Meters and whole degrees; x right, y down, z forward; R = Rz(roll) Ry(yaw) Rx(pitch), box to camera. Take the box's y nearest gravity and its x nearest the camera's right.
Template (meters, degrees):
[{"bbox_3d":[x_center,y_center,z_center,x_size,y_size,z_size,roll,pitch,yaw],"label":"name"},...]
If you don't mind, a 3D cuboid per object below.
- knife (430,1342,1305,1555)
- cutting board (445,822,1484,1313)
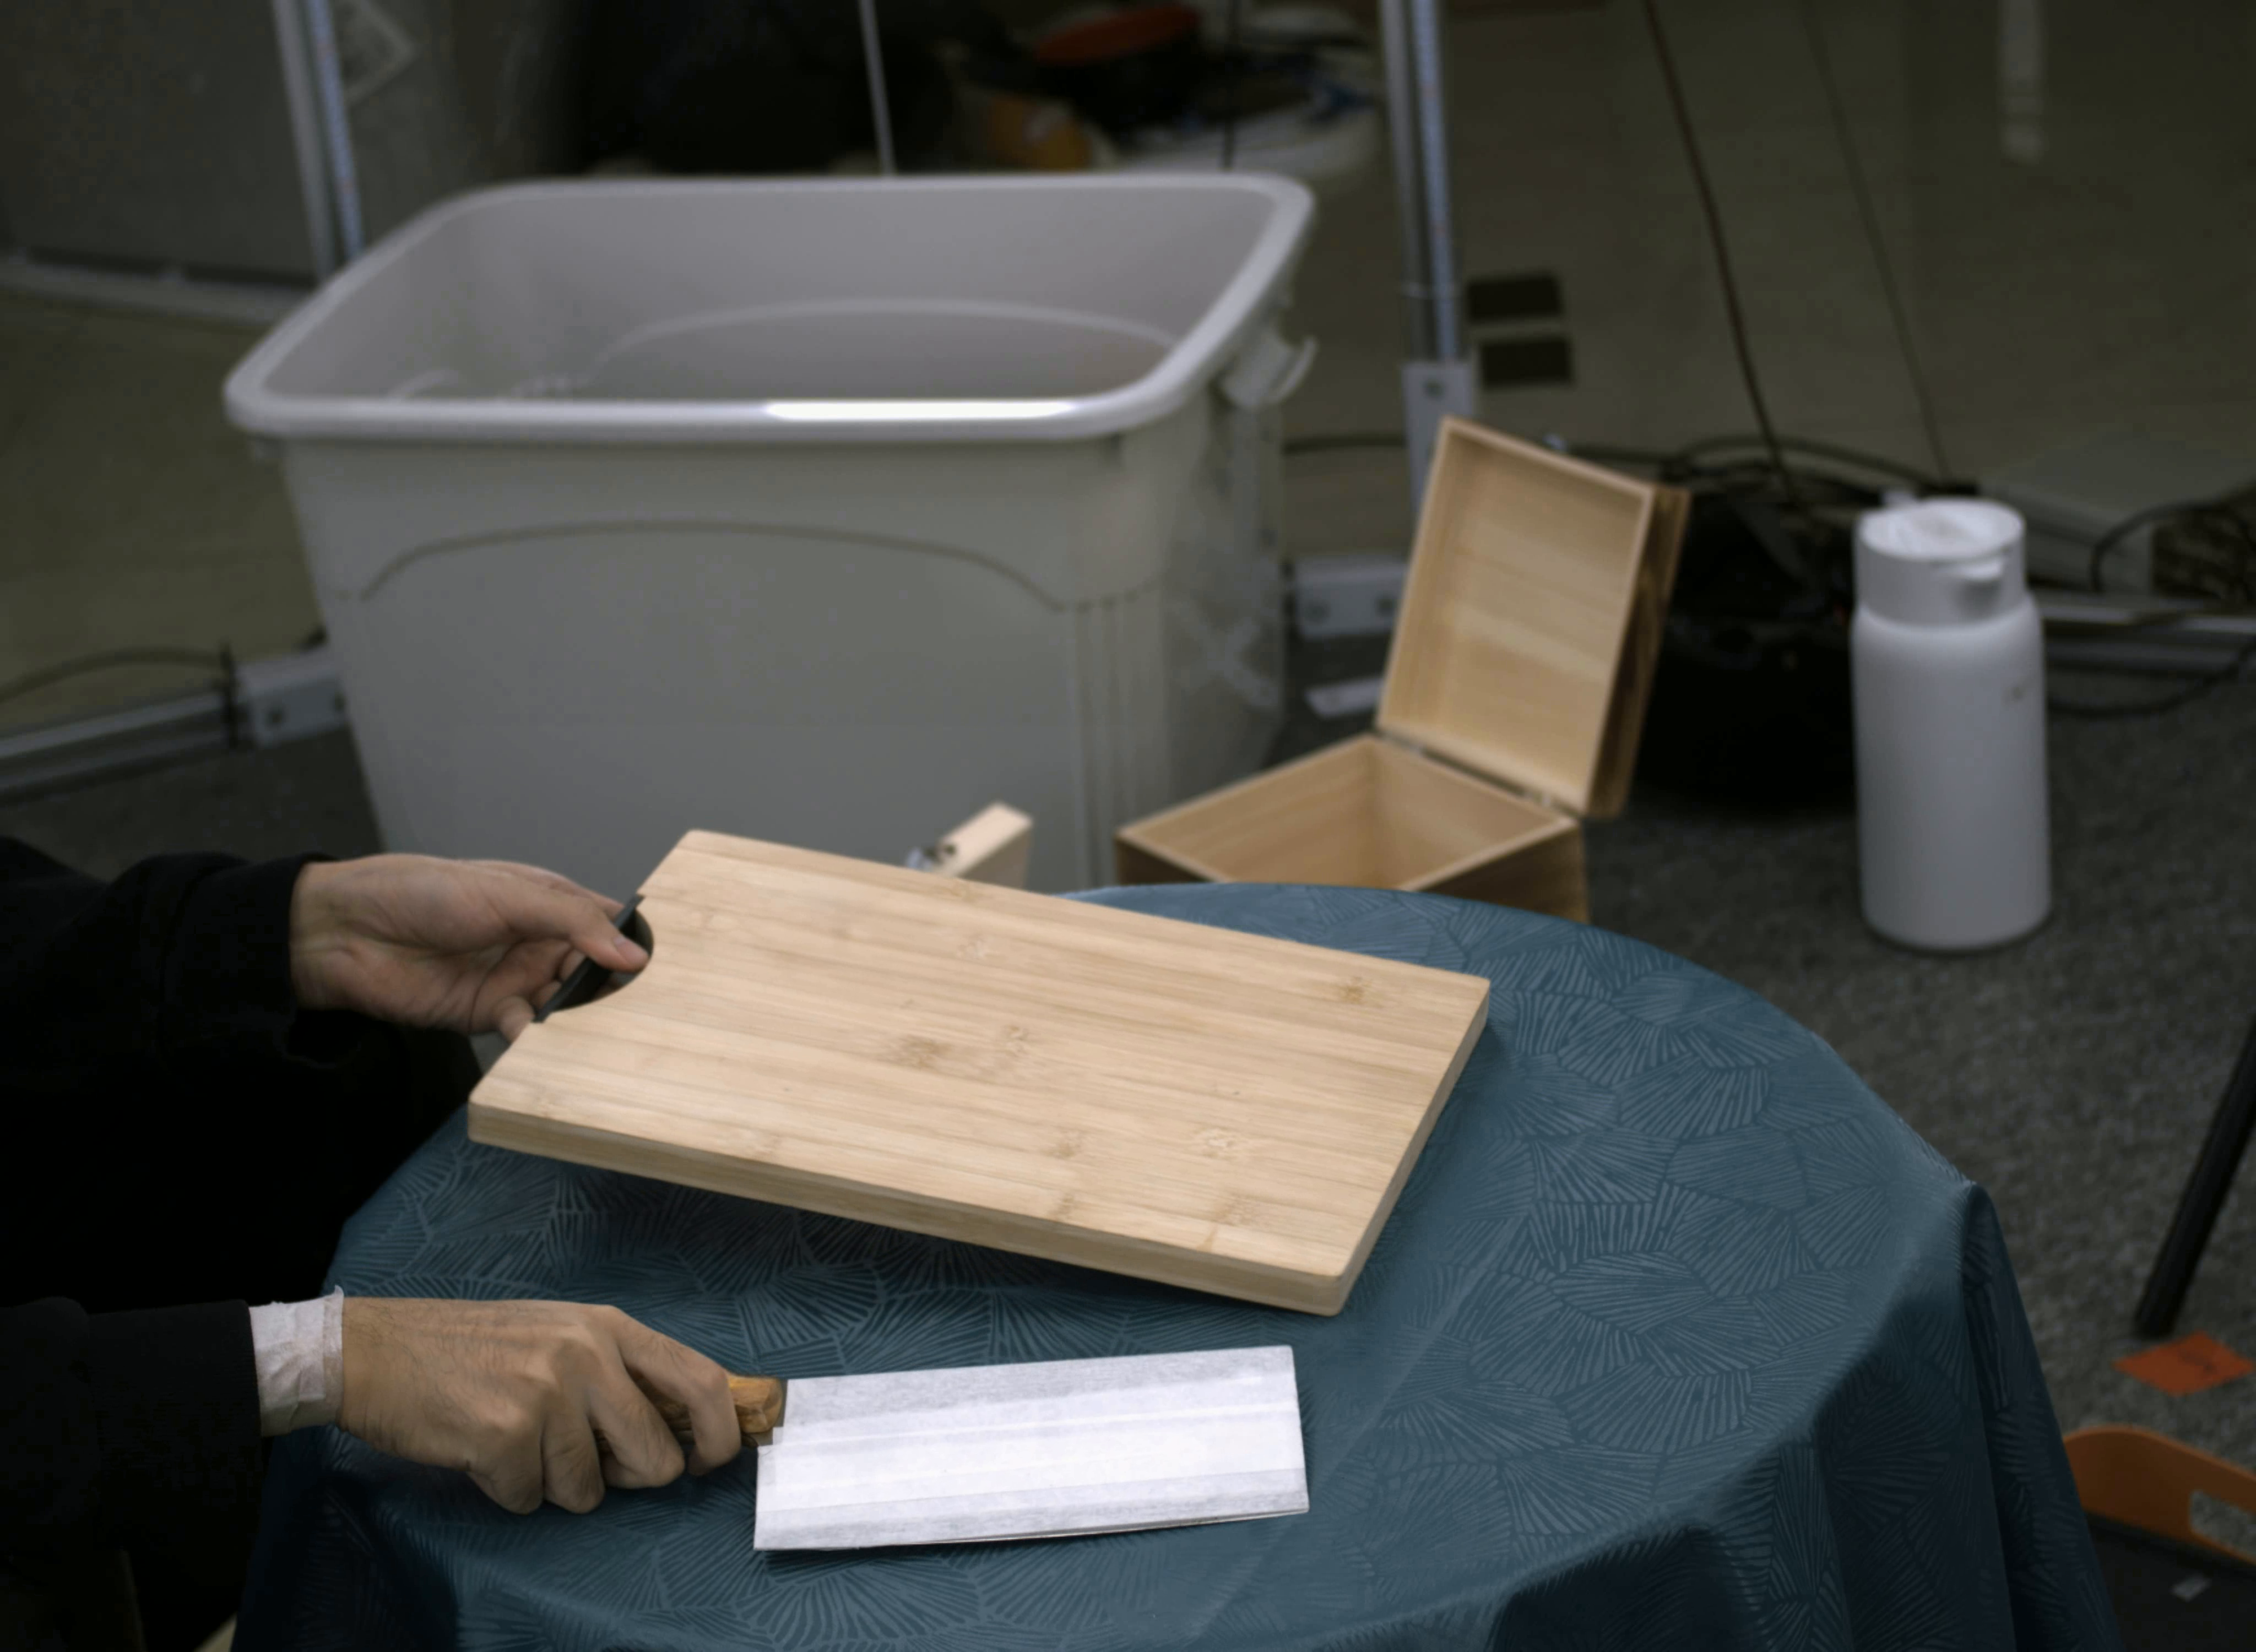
[{"bbox_3d":[-0.092,0.218,1.968,0.305,0.021,0.091,-4,35,0],"label":"knife"},{"bbox_3d":[-0.058,0.088,2.183,0.347,0.024,0.247,10,28,13],"label":"cutting board"}]
